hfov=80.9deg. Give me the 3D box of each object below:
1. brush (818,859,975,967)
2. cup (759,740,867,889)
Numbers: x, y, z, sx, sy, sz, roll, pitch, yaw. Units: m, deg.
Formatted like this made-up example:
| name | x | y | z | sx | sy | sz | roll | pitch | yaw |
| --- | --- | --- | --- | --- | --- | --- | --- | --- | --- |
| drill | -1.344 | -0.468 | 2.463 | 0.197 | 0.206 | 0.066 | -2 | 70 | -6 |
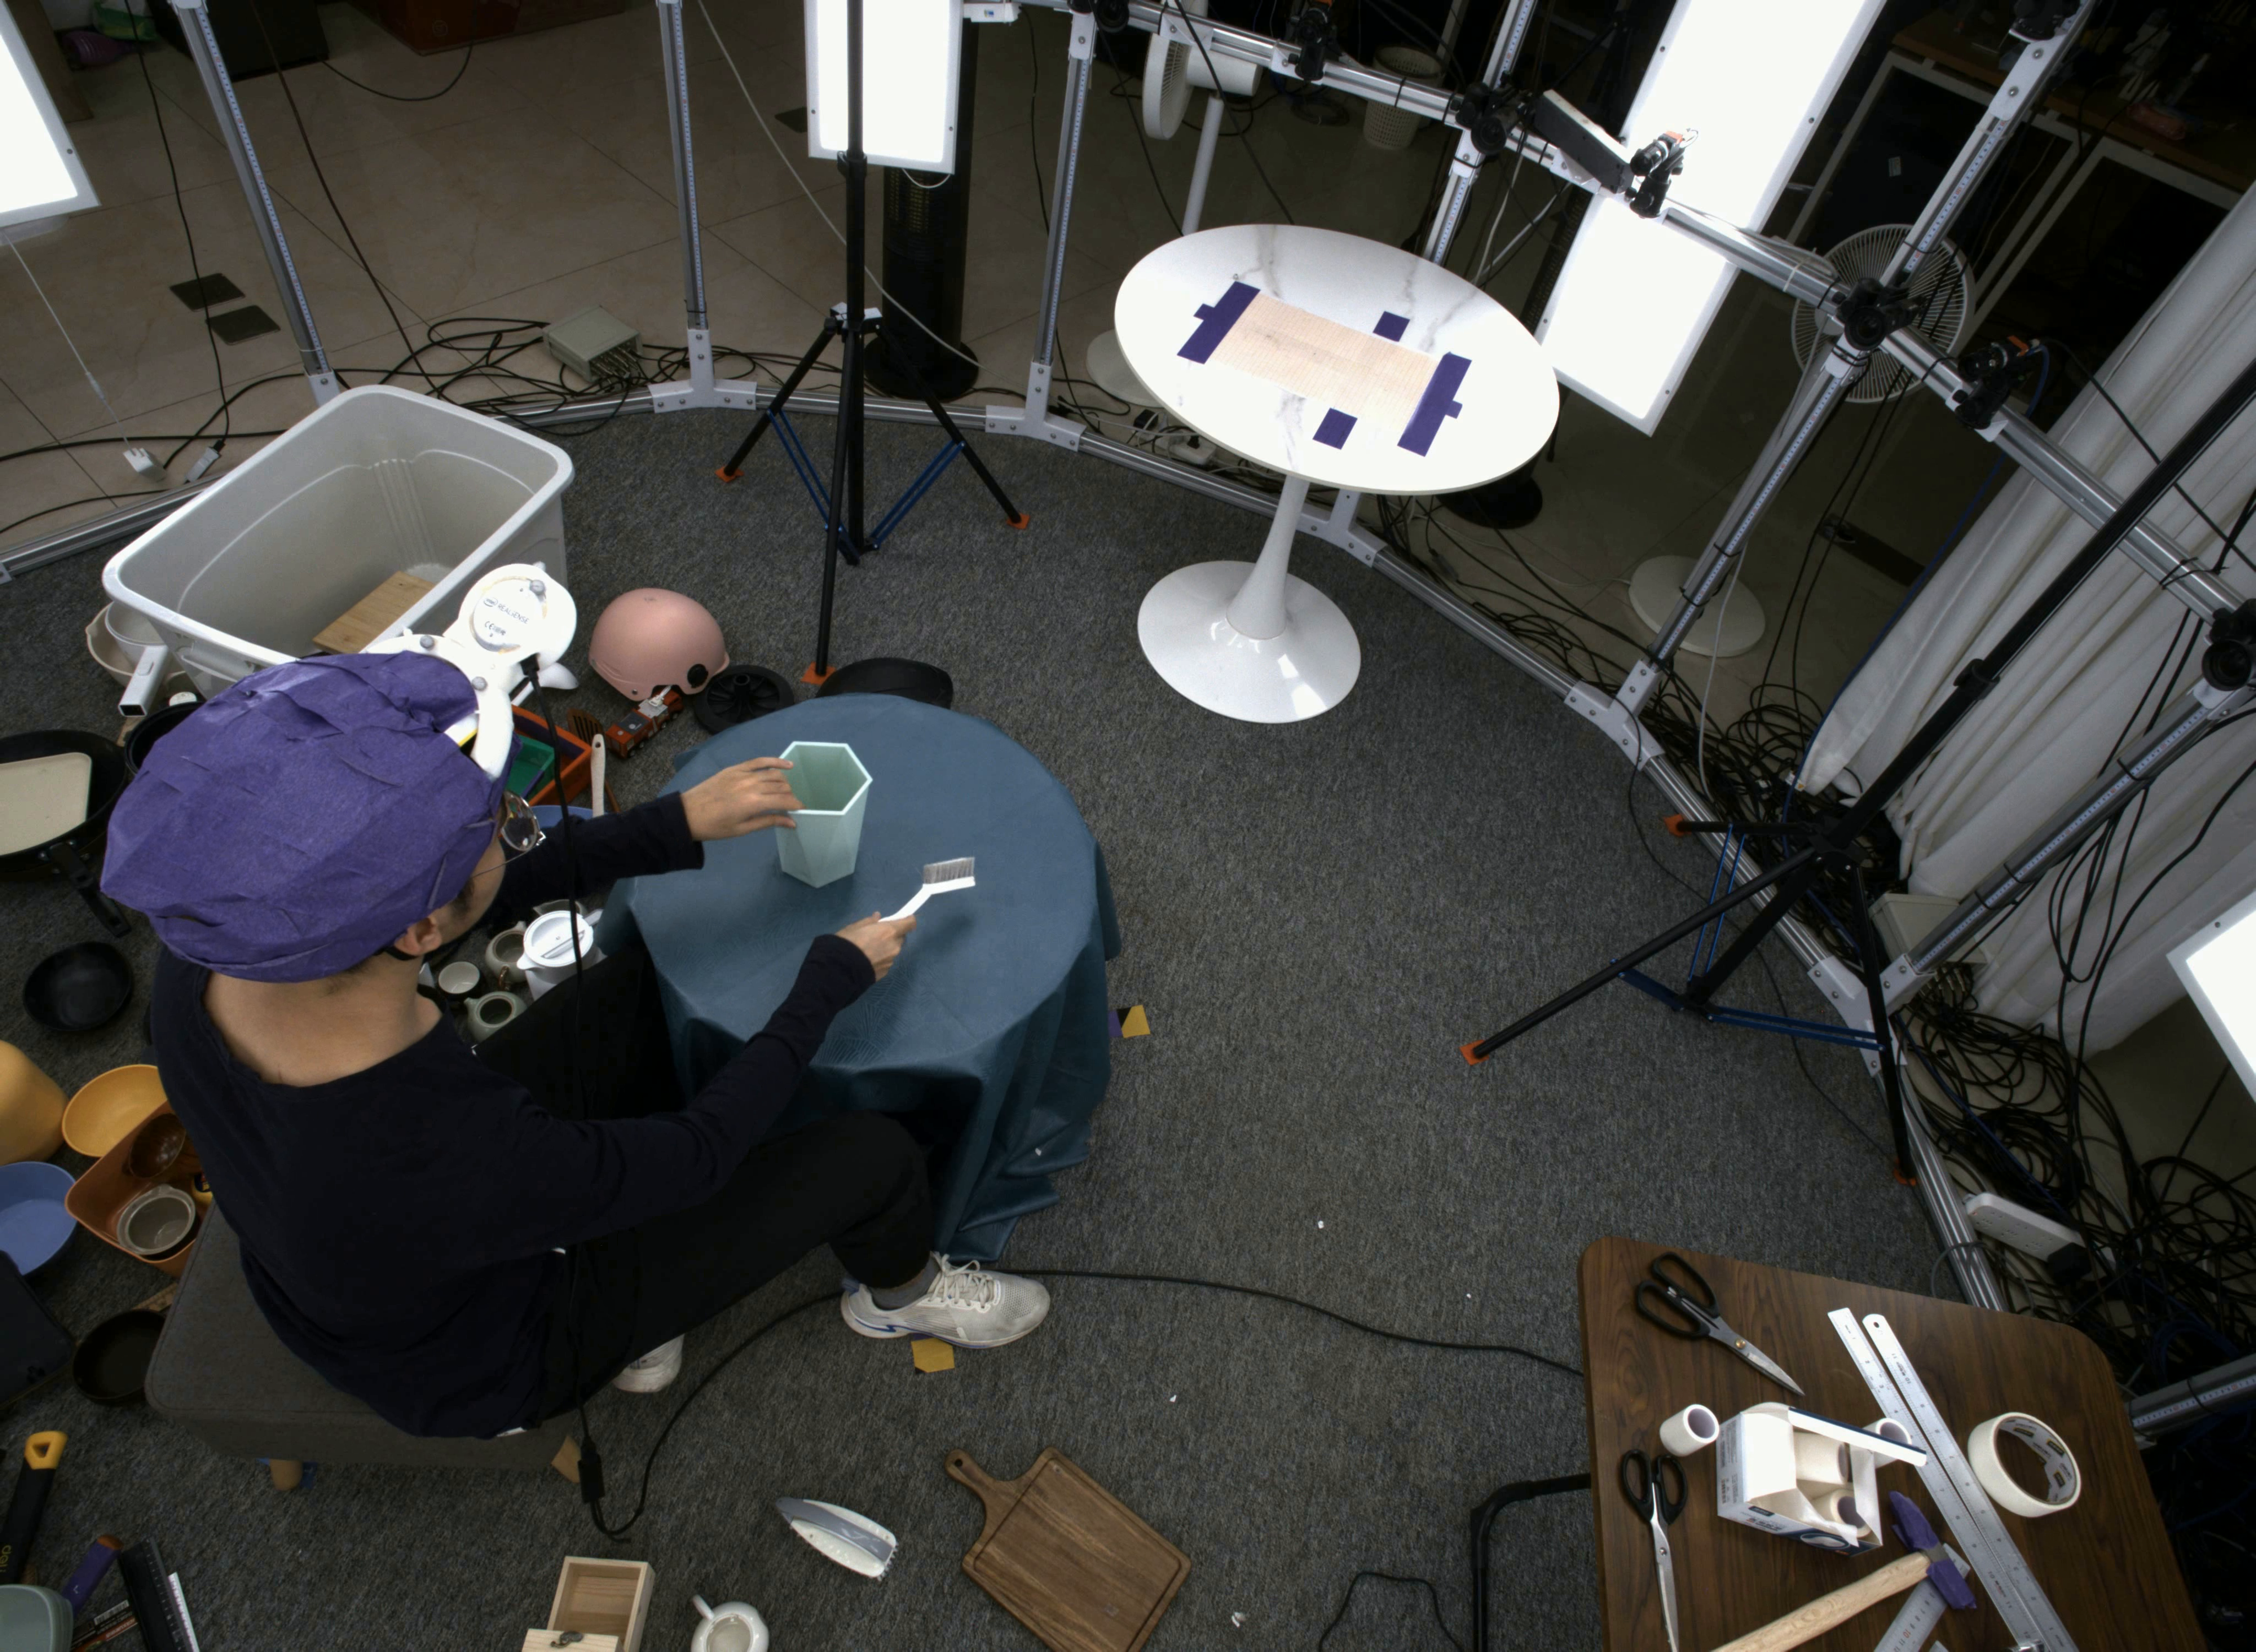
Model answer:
| name | x | y | z | sx | sy | sz | roll | pitch | yaw |
| --- | --- | --- | --- | --- | --- | --- | --- | --- | --- |
| brush | -0.284 | 0.097 | 1.593 | 0.033 | 0.052 | 0.245 | 13 | 32 | 43 |
| cup | -0.394 | -0.012 | 1.637 | 0.131 | 0.166 | 0.113 | -1 | 54 | -12 |
